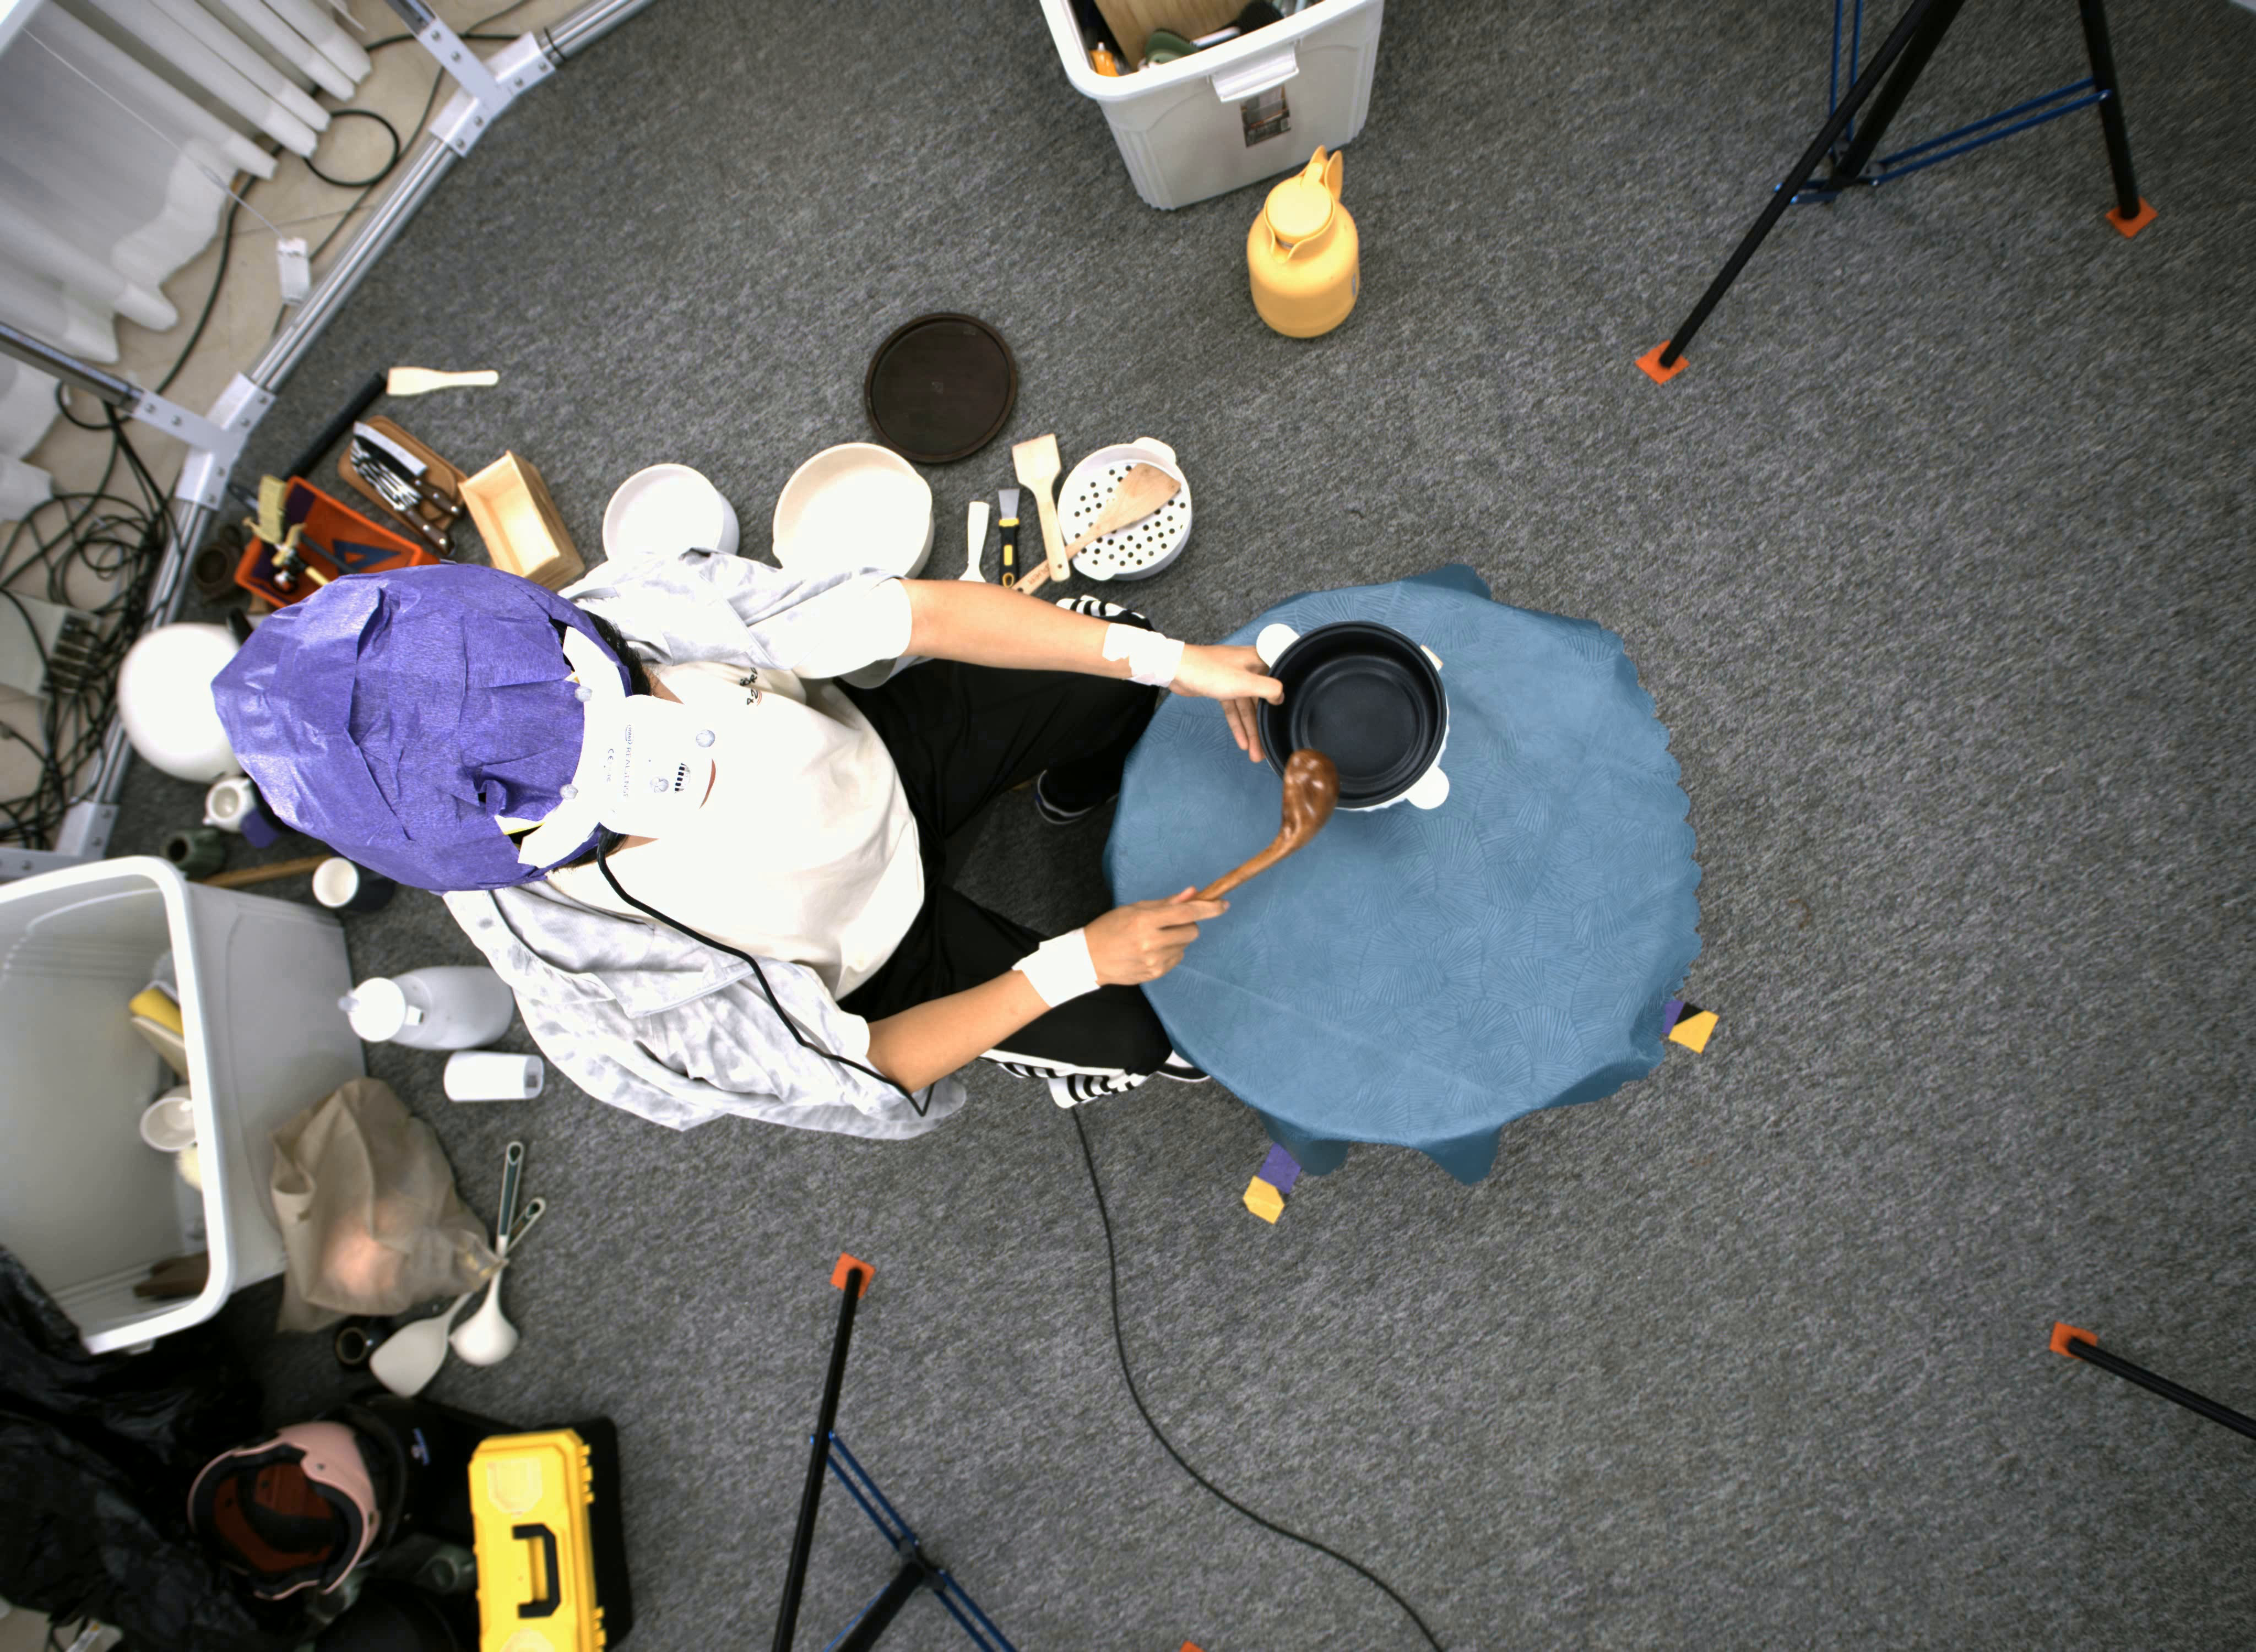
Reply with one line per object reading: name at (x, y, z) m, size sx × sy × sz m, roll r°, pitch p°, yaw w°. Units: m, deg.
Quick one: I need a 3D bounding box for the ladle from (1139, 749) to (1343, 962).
ladle at (0.096, 0.028, 1.325) m, size 0.279 × 0.082 × 0.075 m, roll -39°, pitch 61°, yaw 29°

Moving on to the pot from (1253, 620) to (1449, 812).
pot at (0.230, -0.109, 1.364) m, size 0.239 × 0.141 × 0.193 m, roll 45°, pitch 104°, yaw 11°
